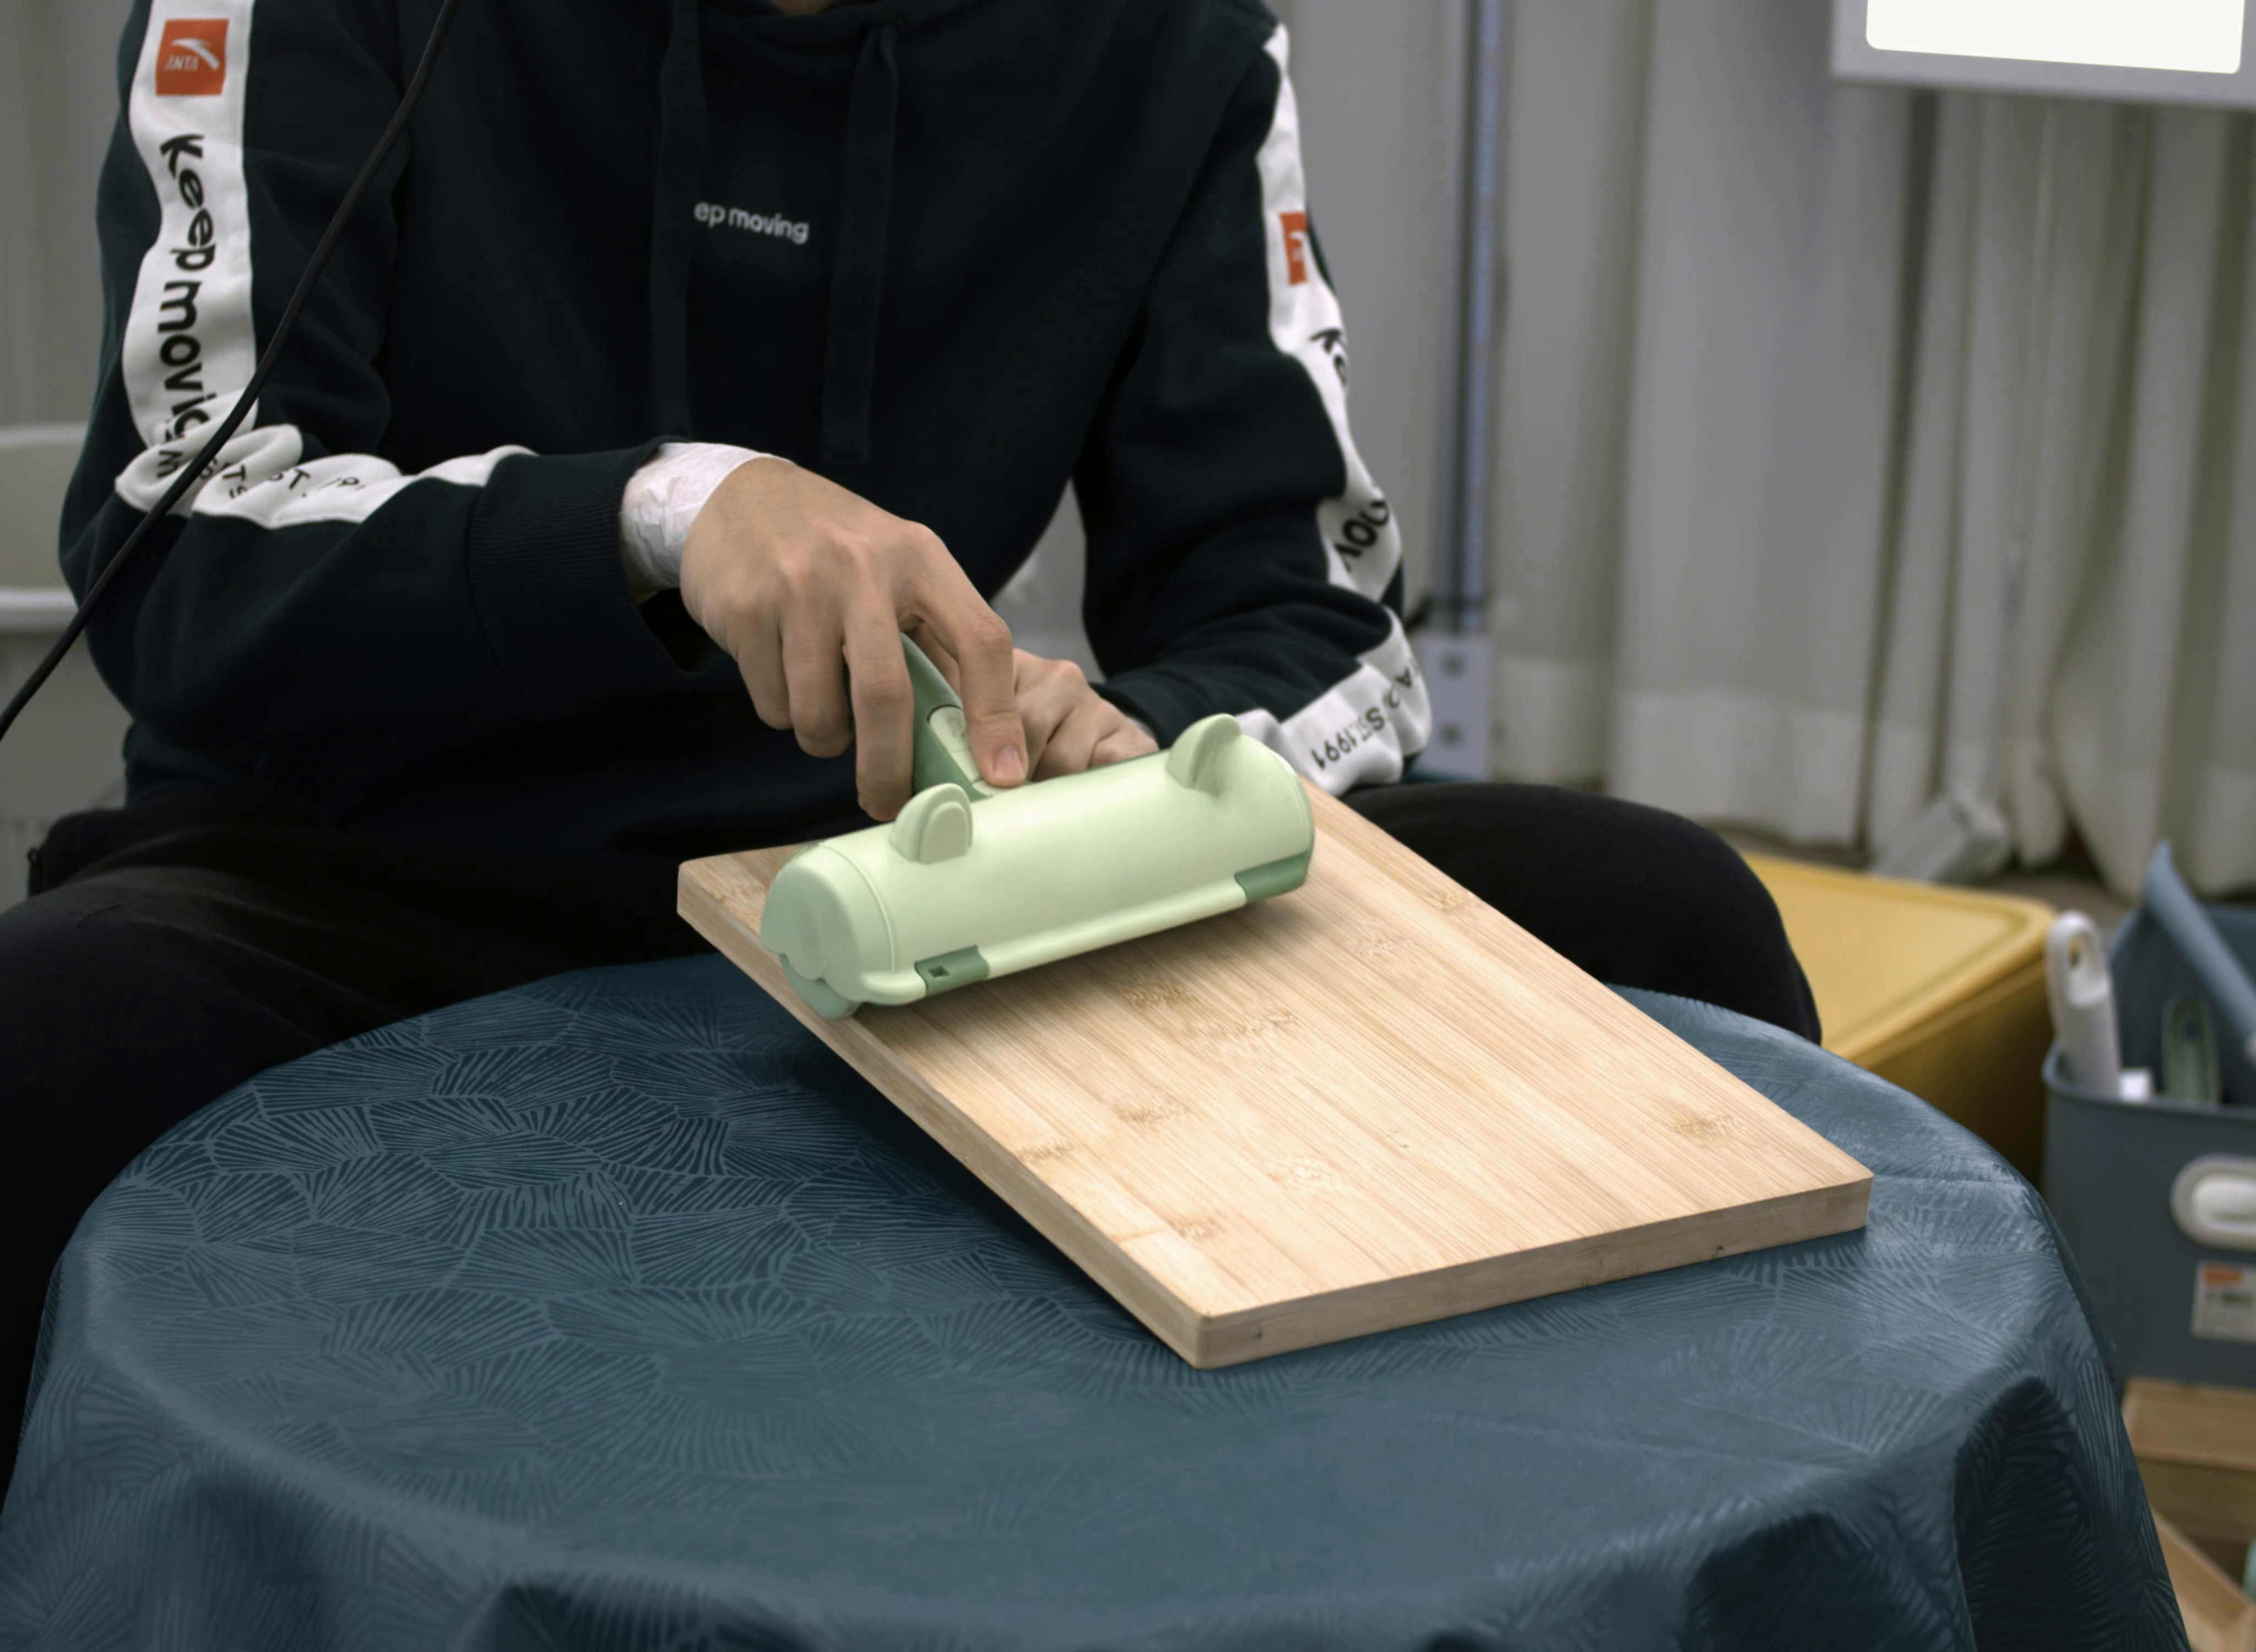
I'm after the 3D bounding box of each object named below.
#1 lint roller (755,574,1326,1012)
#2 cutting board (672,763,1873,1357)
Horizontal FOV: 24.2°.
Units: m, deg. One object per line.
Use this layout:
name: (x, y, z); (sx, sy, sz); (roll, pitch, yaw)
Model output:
lint roller: (-0.053, -0.032, 1.693); (0.199, 0.082, 0.182); (-15, 61, -40)
cutting board: (0.037, 0.066, 1.666); (0.252, 0.024, 0.344); (-9, 27, -31)
